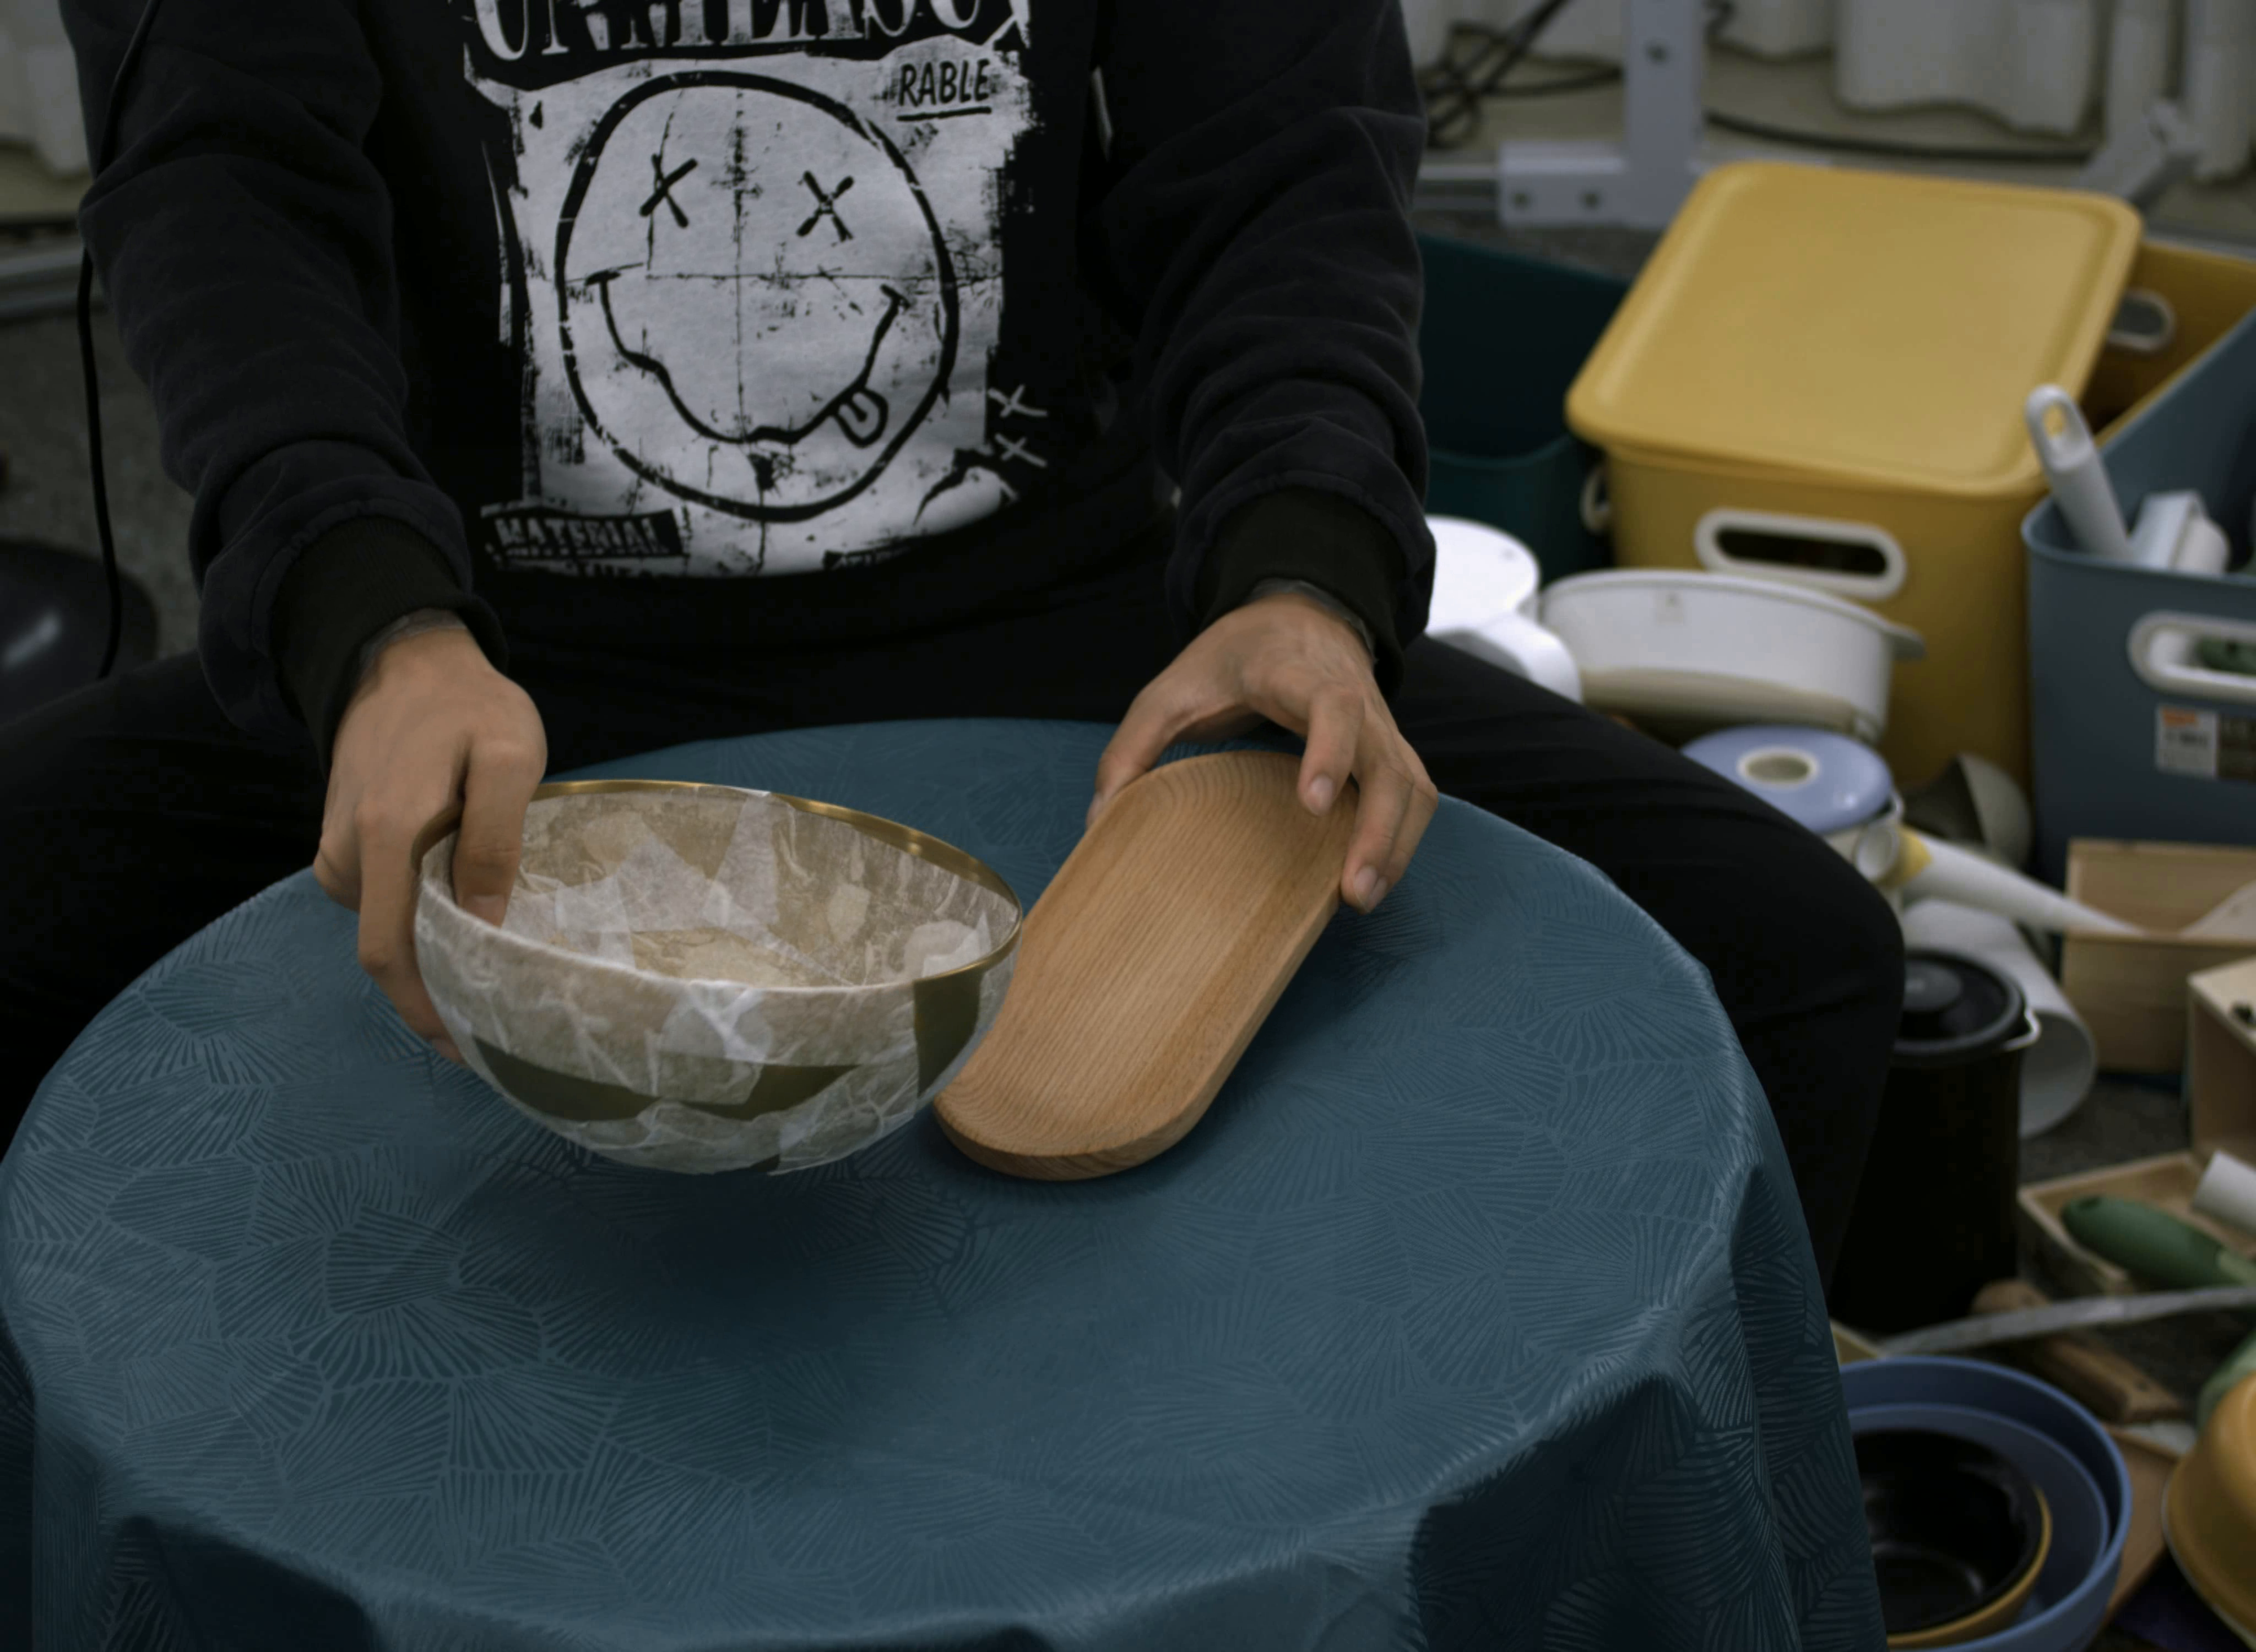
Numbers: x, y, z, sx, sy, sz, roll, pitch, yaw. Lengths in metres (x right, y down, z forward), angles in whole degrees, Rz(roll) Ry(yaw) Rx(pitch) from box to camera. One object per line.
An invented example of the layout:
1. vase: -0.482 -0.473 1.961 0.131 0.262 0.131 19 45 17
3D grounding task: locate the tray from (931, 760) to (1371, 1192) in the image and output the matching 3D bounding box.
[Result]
1. tray: 0.010 0.050 1.945 0.101 0.020 0.236 7 39 24

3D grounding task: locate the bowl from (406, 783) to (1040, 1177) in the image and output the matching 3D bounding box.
1. bowl: -0.134 0.059 1.827 0.214 0.094 0.217 6 17 -1
